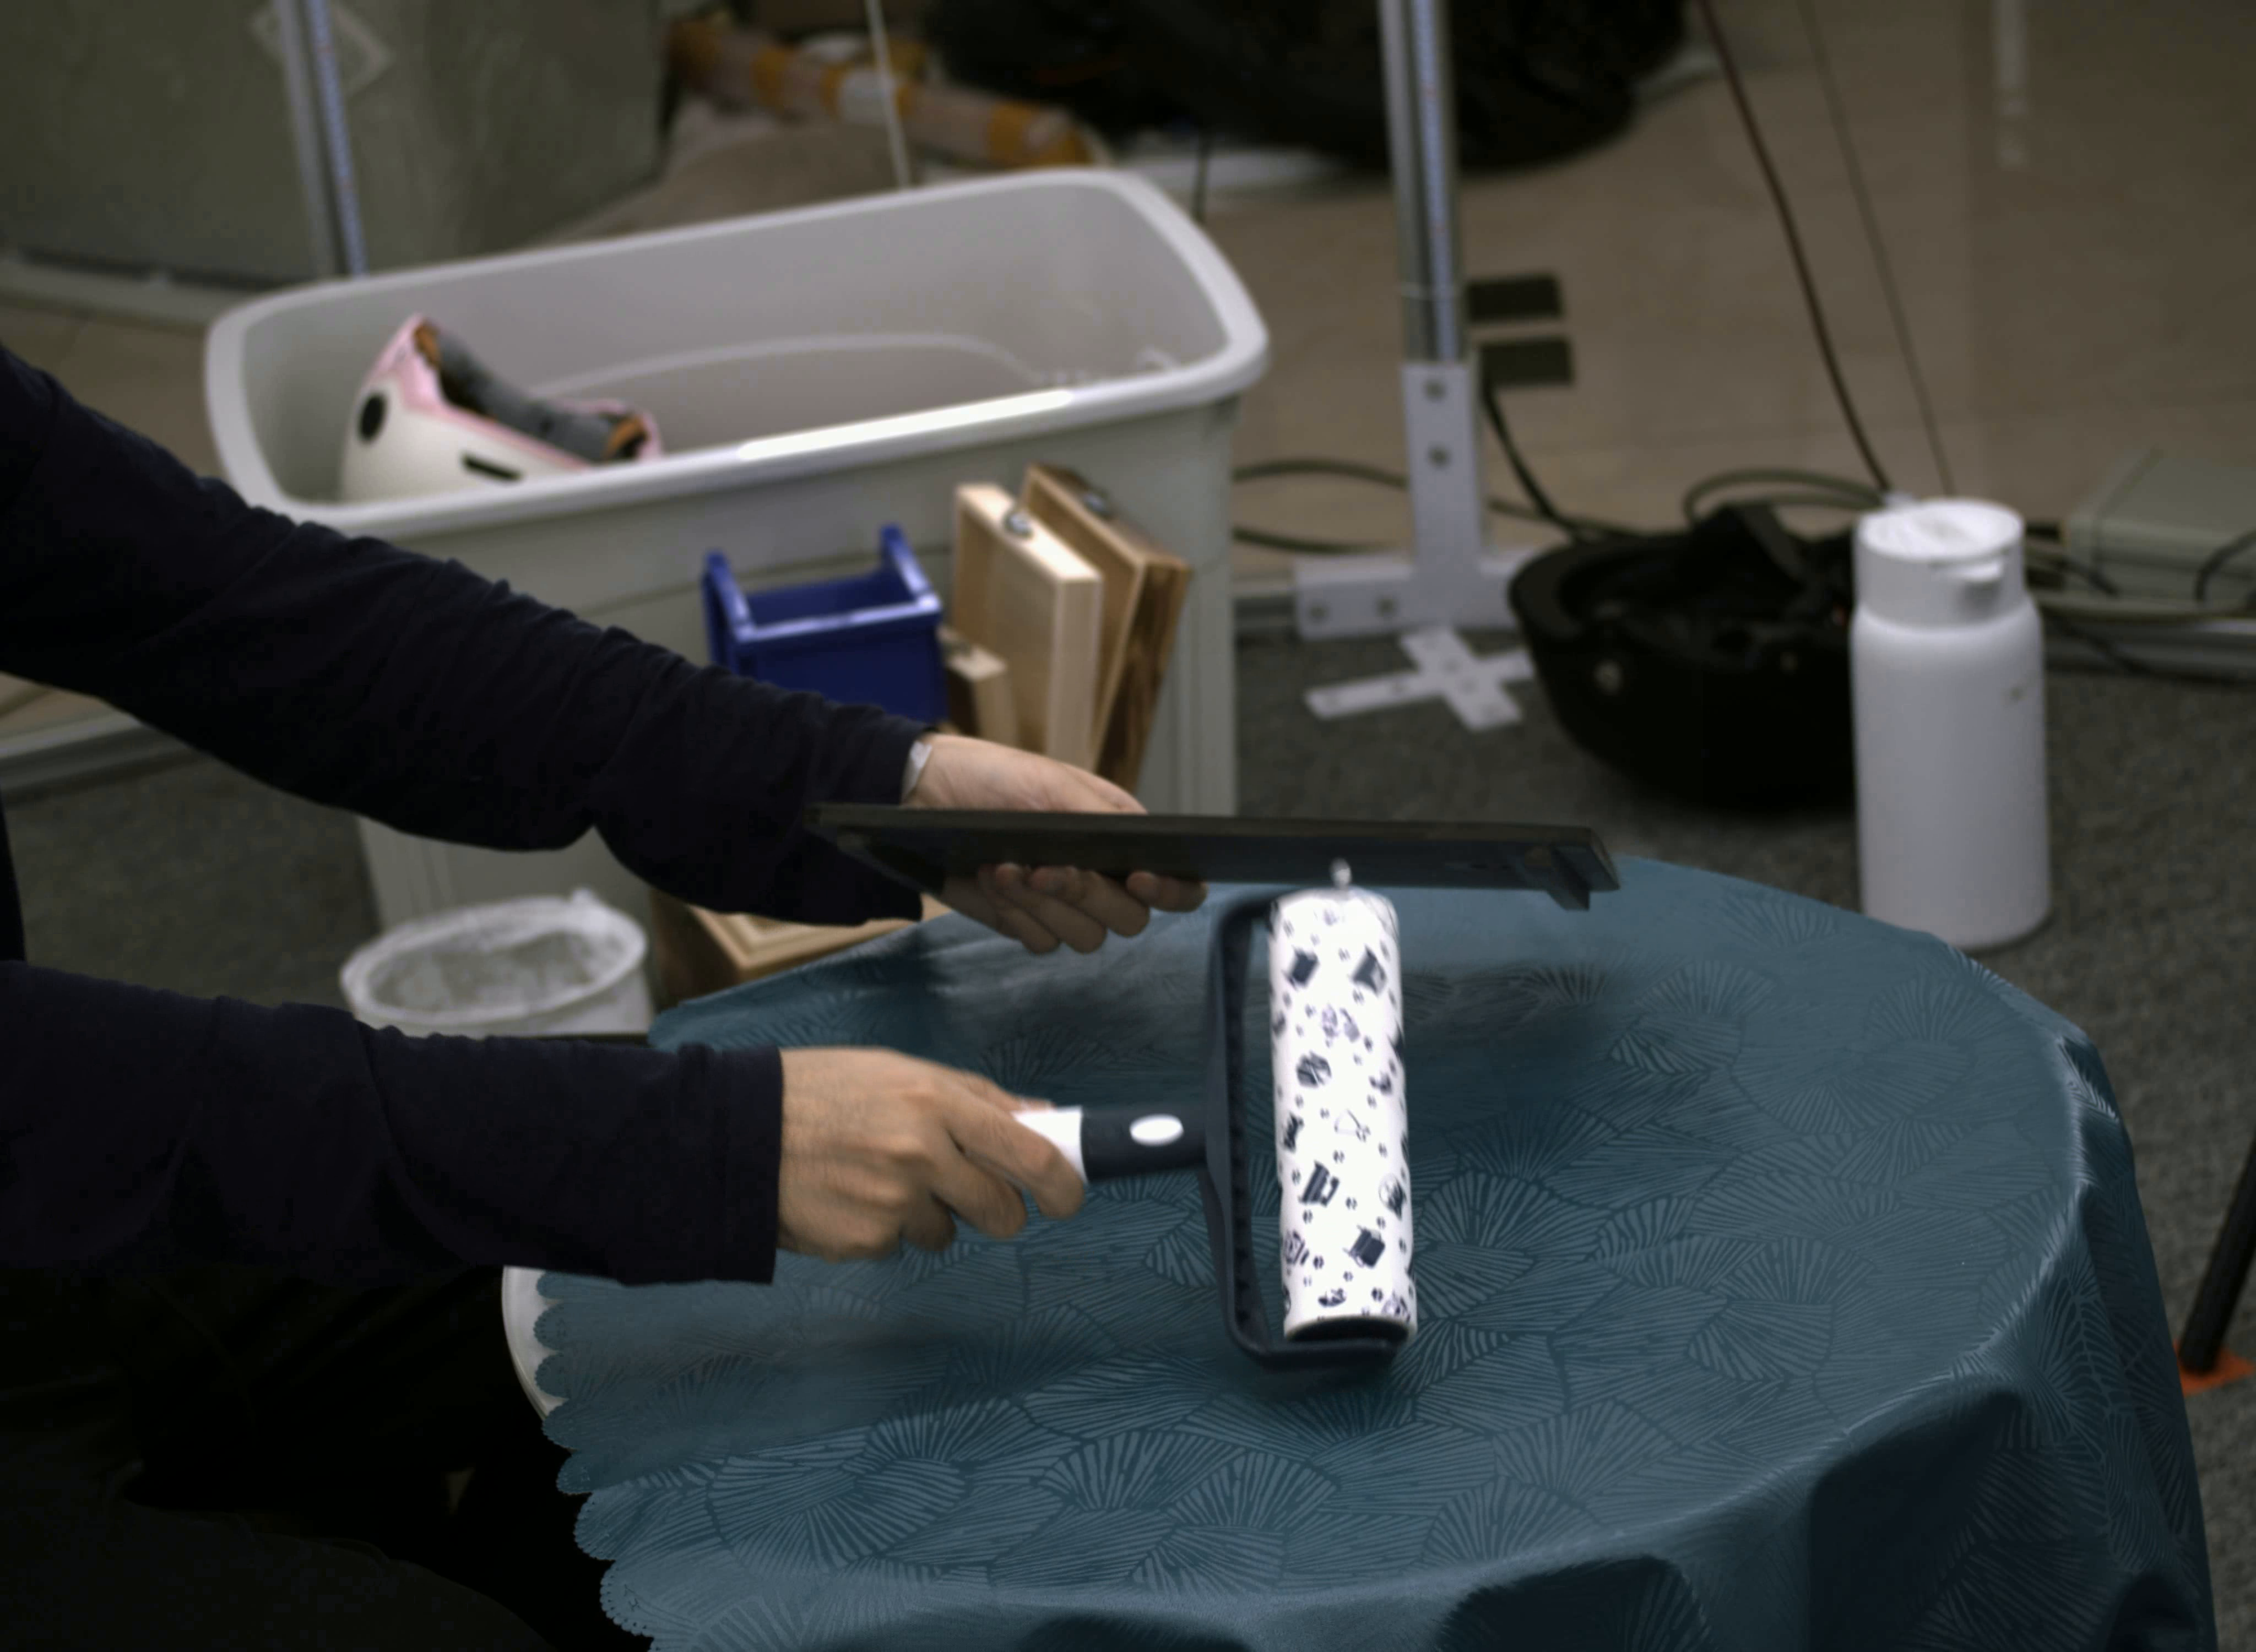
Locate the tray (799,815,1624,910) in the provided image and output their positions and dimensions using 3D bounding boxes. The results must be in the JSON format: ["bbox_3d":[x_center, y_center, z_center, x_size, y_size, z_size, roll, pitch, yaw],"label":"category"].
[{"bbox_3d":[0.036,0.015,2.219,0.305,0.018,0.170,1,-6,11],"label":"tray"}]

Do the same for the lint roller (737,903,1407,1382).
[{"bbox_3d":[-0.023,0.122,2.037,0.247,0.051,0.174,-6,64,10],"label":"lint roller"}]
